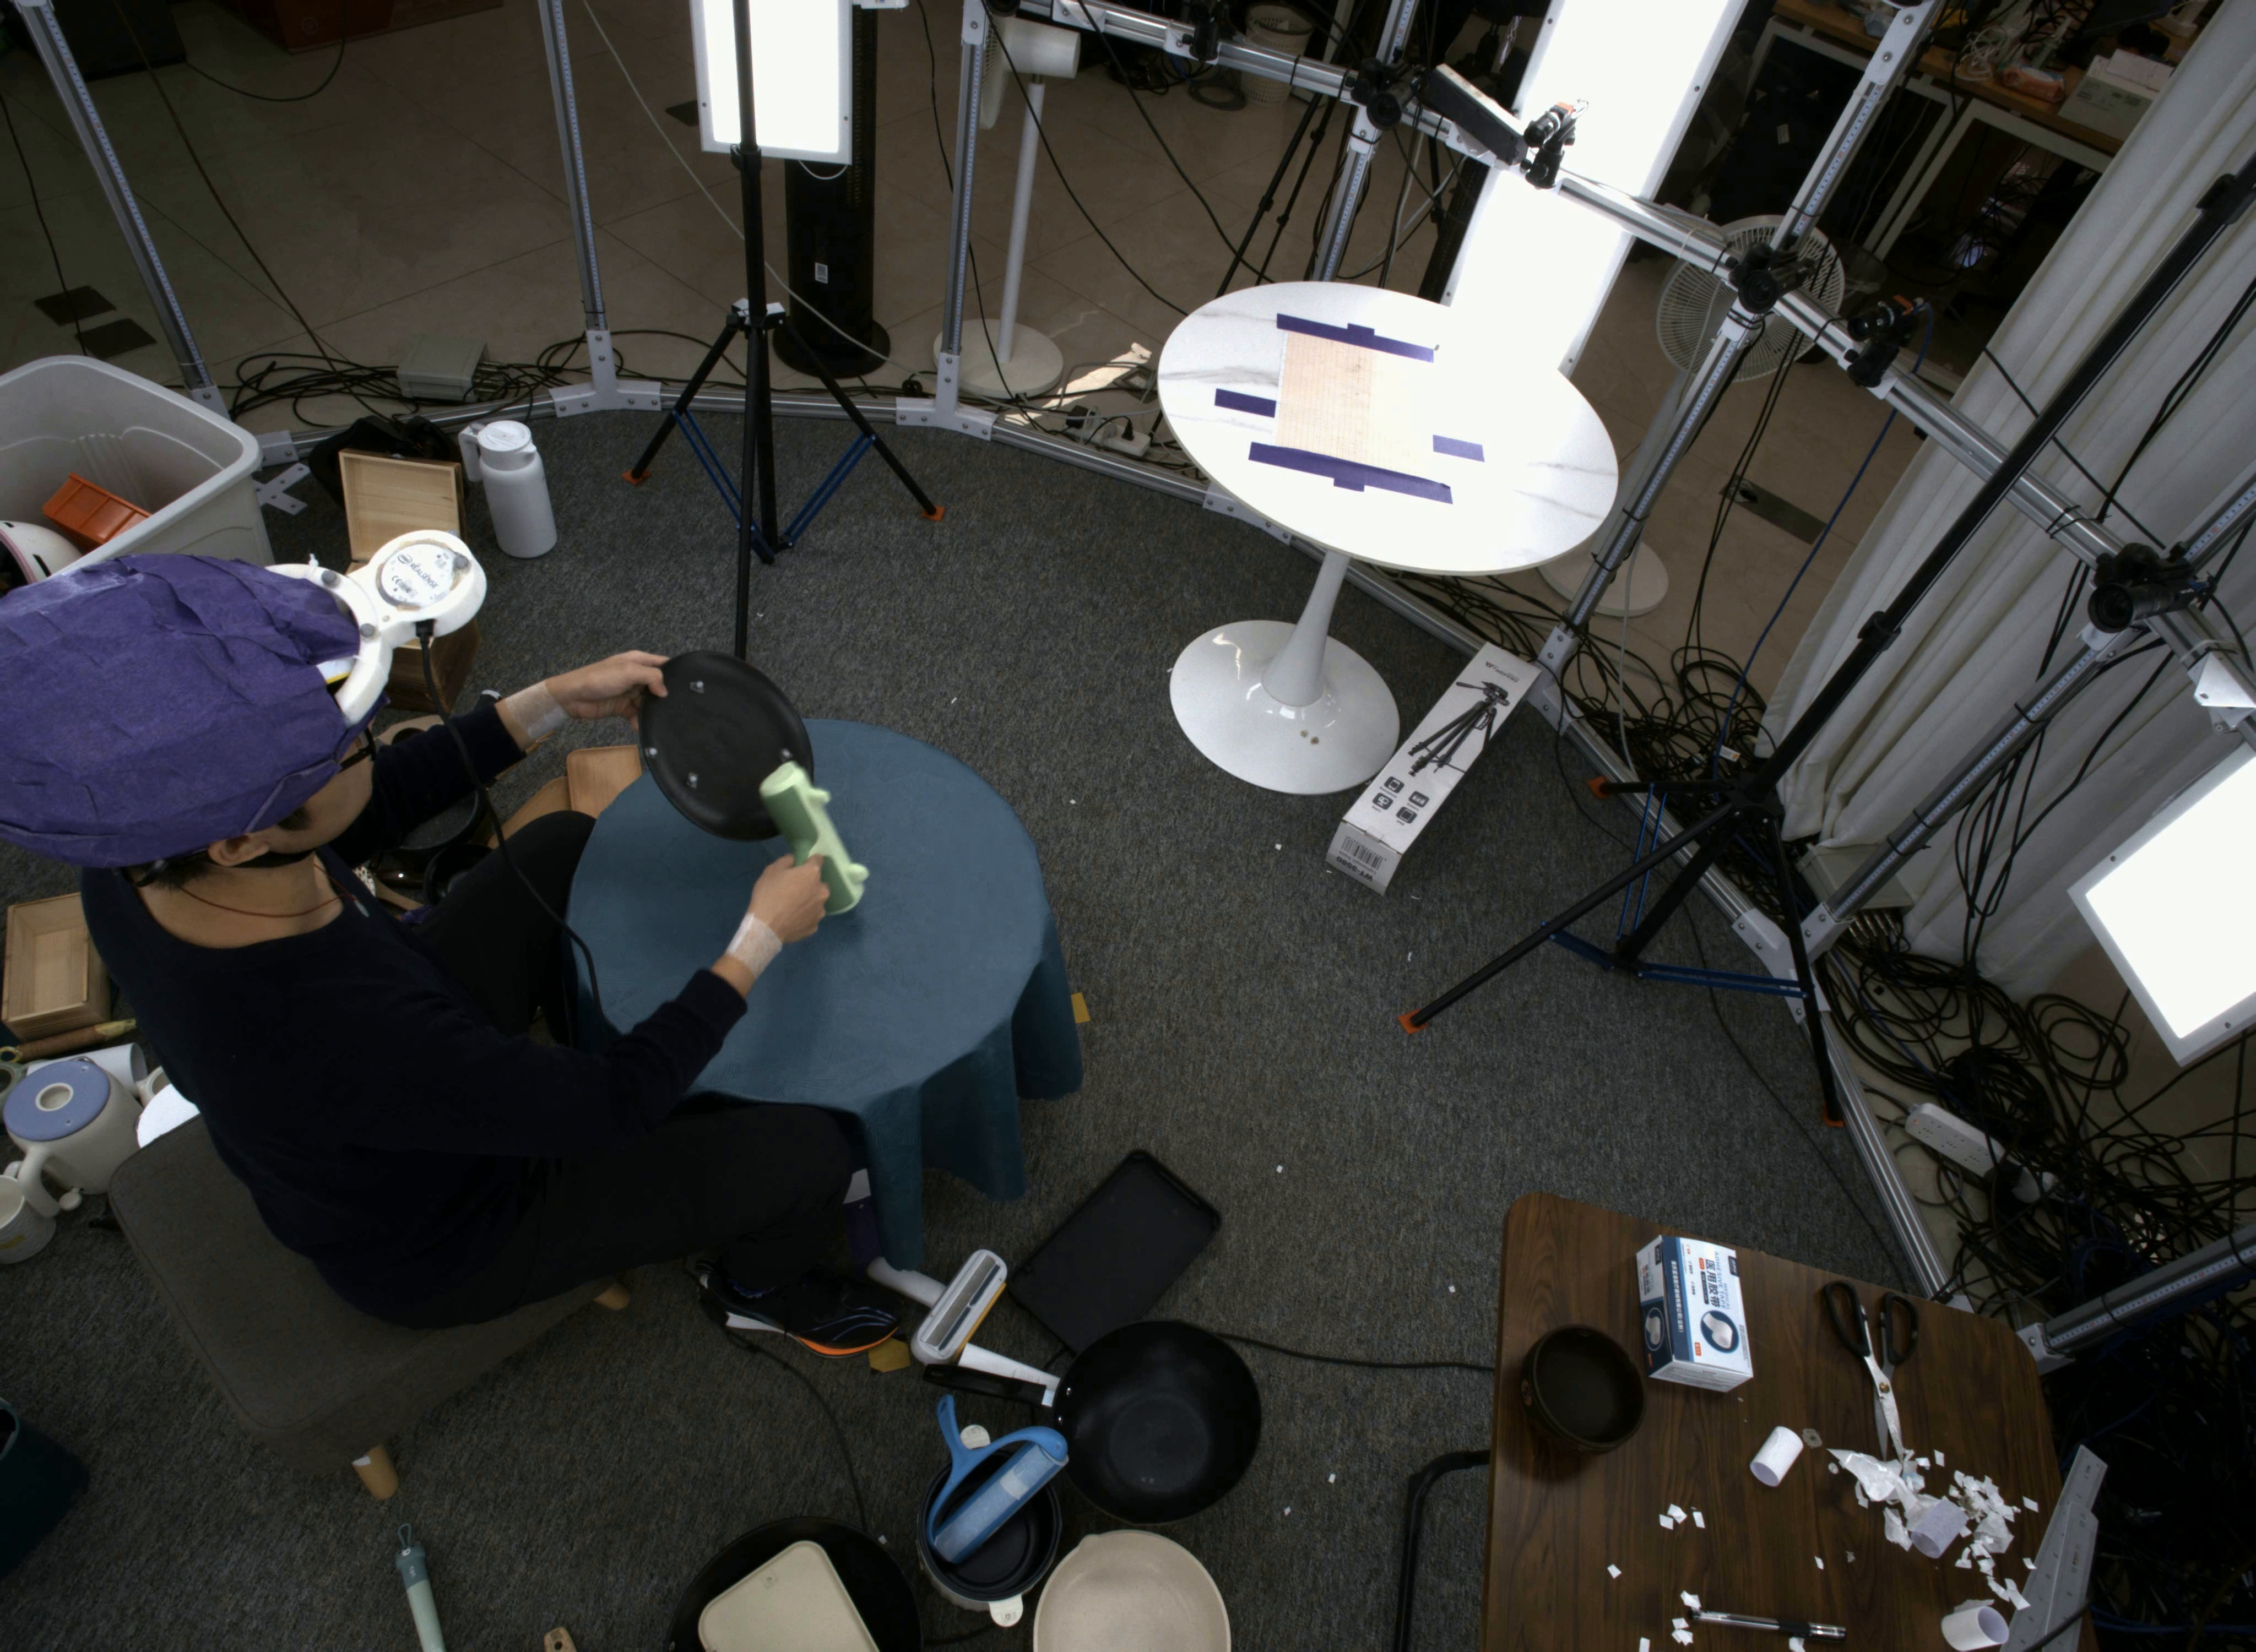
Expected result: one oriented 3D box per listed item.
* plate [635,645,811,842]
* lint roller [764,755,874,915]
[{"bbox_3d":[-0.481,-0.097,1.527,0.252,0.023,0.241,31,50,-42],"label":"plate"},{"bbox_3d":[-0.362,0.037,1.522,0.081,0.206,0.178,-19,33,3],"label":"lint roller"}]
